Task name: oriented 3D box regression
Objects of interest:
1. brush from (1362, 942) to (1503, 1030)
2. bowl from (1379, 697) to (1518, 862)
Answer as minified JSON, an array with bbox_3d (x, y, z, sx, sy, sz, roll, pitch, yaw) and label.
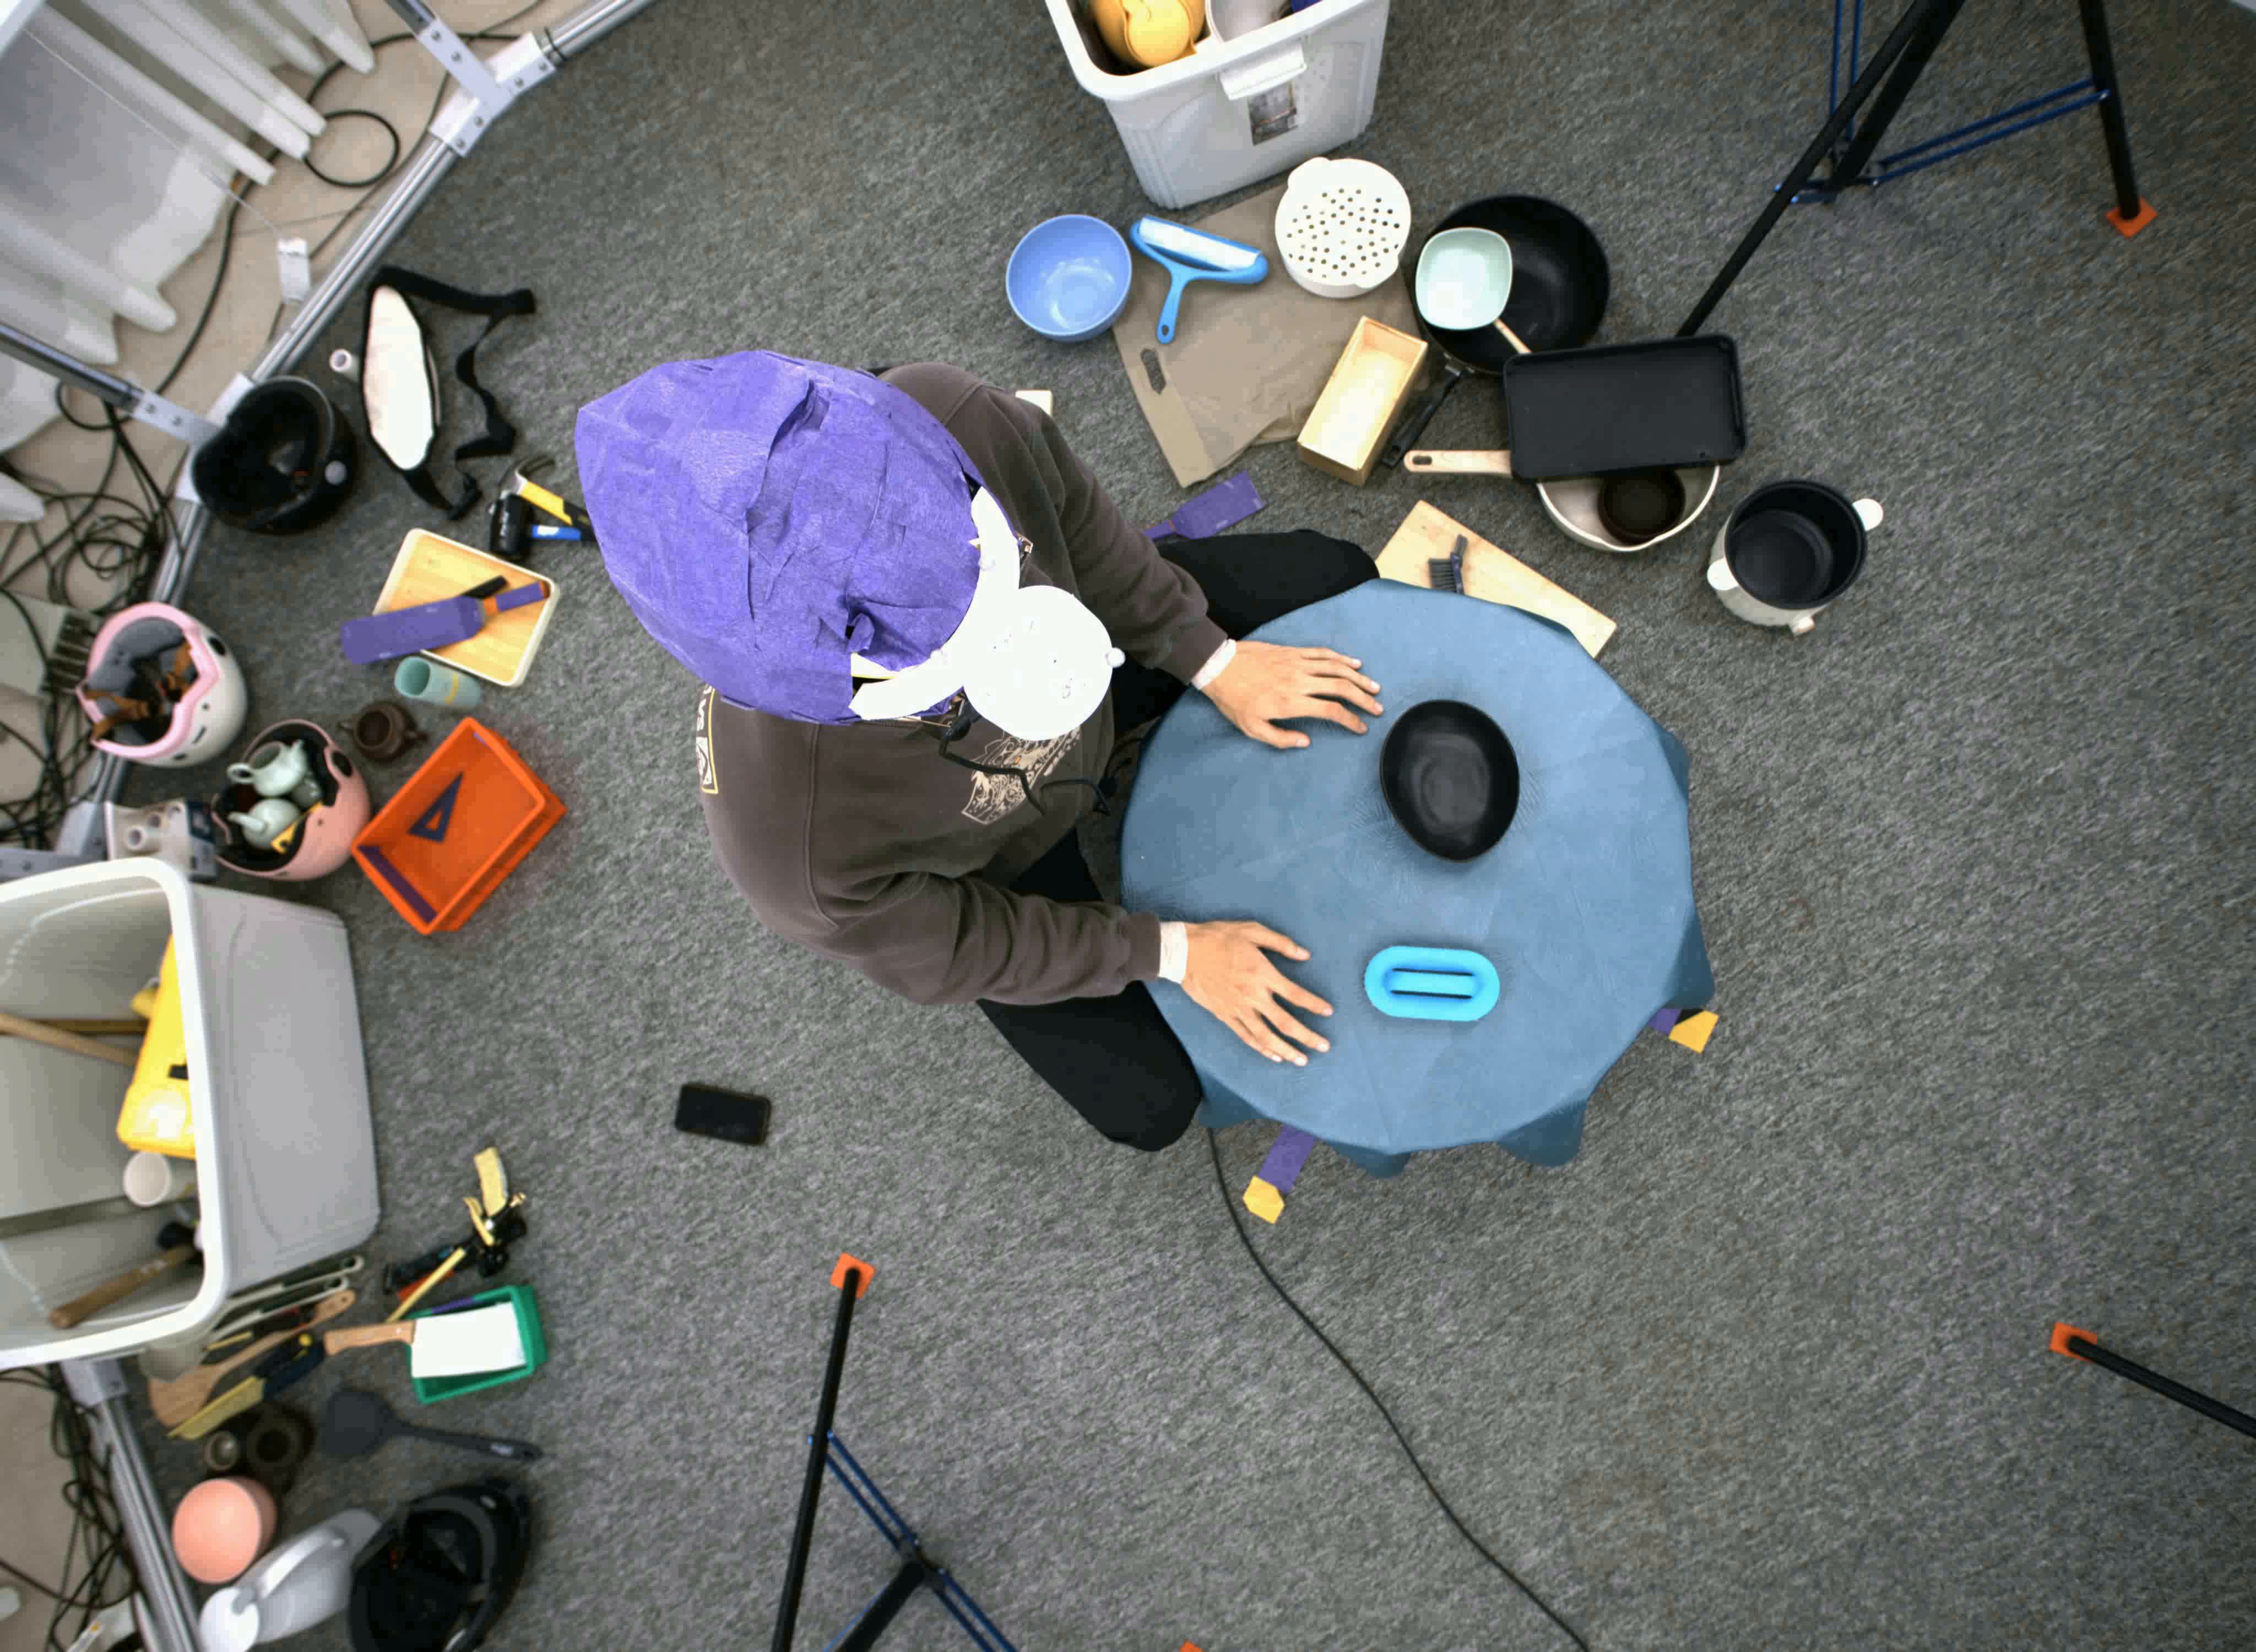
[{"bbox_3d":[0.312,0.162,1.412,0.142,0.064,0.084,5,83,9],"label":"brush"},{"bbox_3d":[0.331,-0.048,1.420,0.138,0.066,0.169,-16,86,10],"label":"bowl"}]
